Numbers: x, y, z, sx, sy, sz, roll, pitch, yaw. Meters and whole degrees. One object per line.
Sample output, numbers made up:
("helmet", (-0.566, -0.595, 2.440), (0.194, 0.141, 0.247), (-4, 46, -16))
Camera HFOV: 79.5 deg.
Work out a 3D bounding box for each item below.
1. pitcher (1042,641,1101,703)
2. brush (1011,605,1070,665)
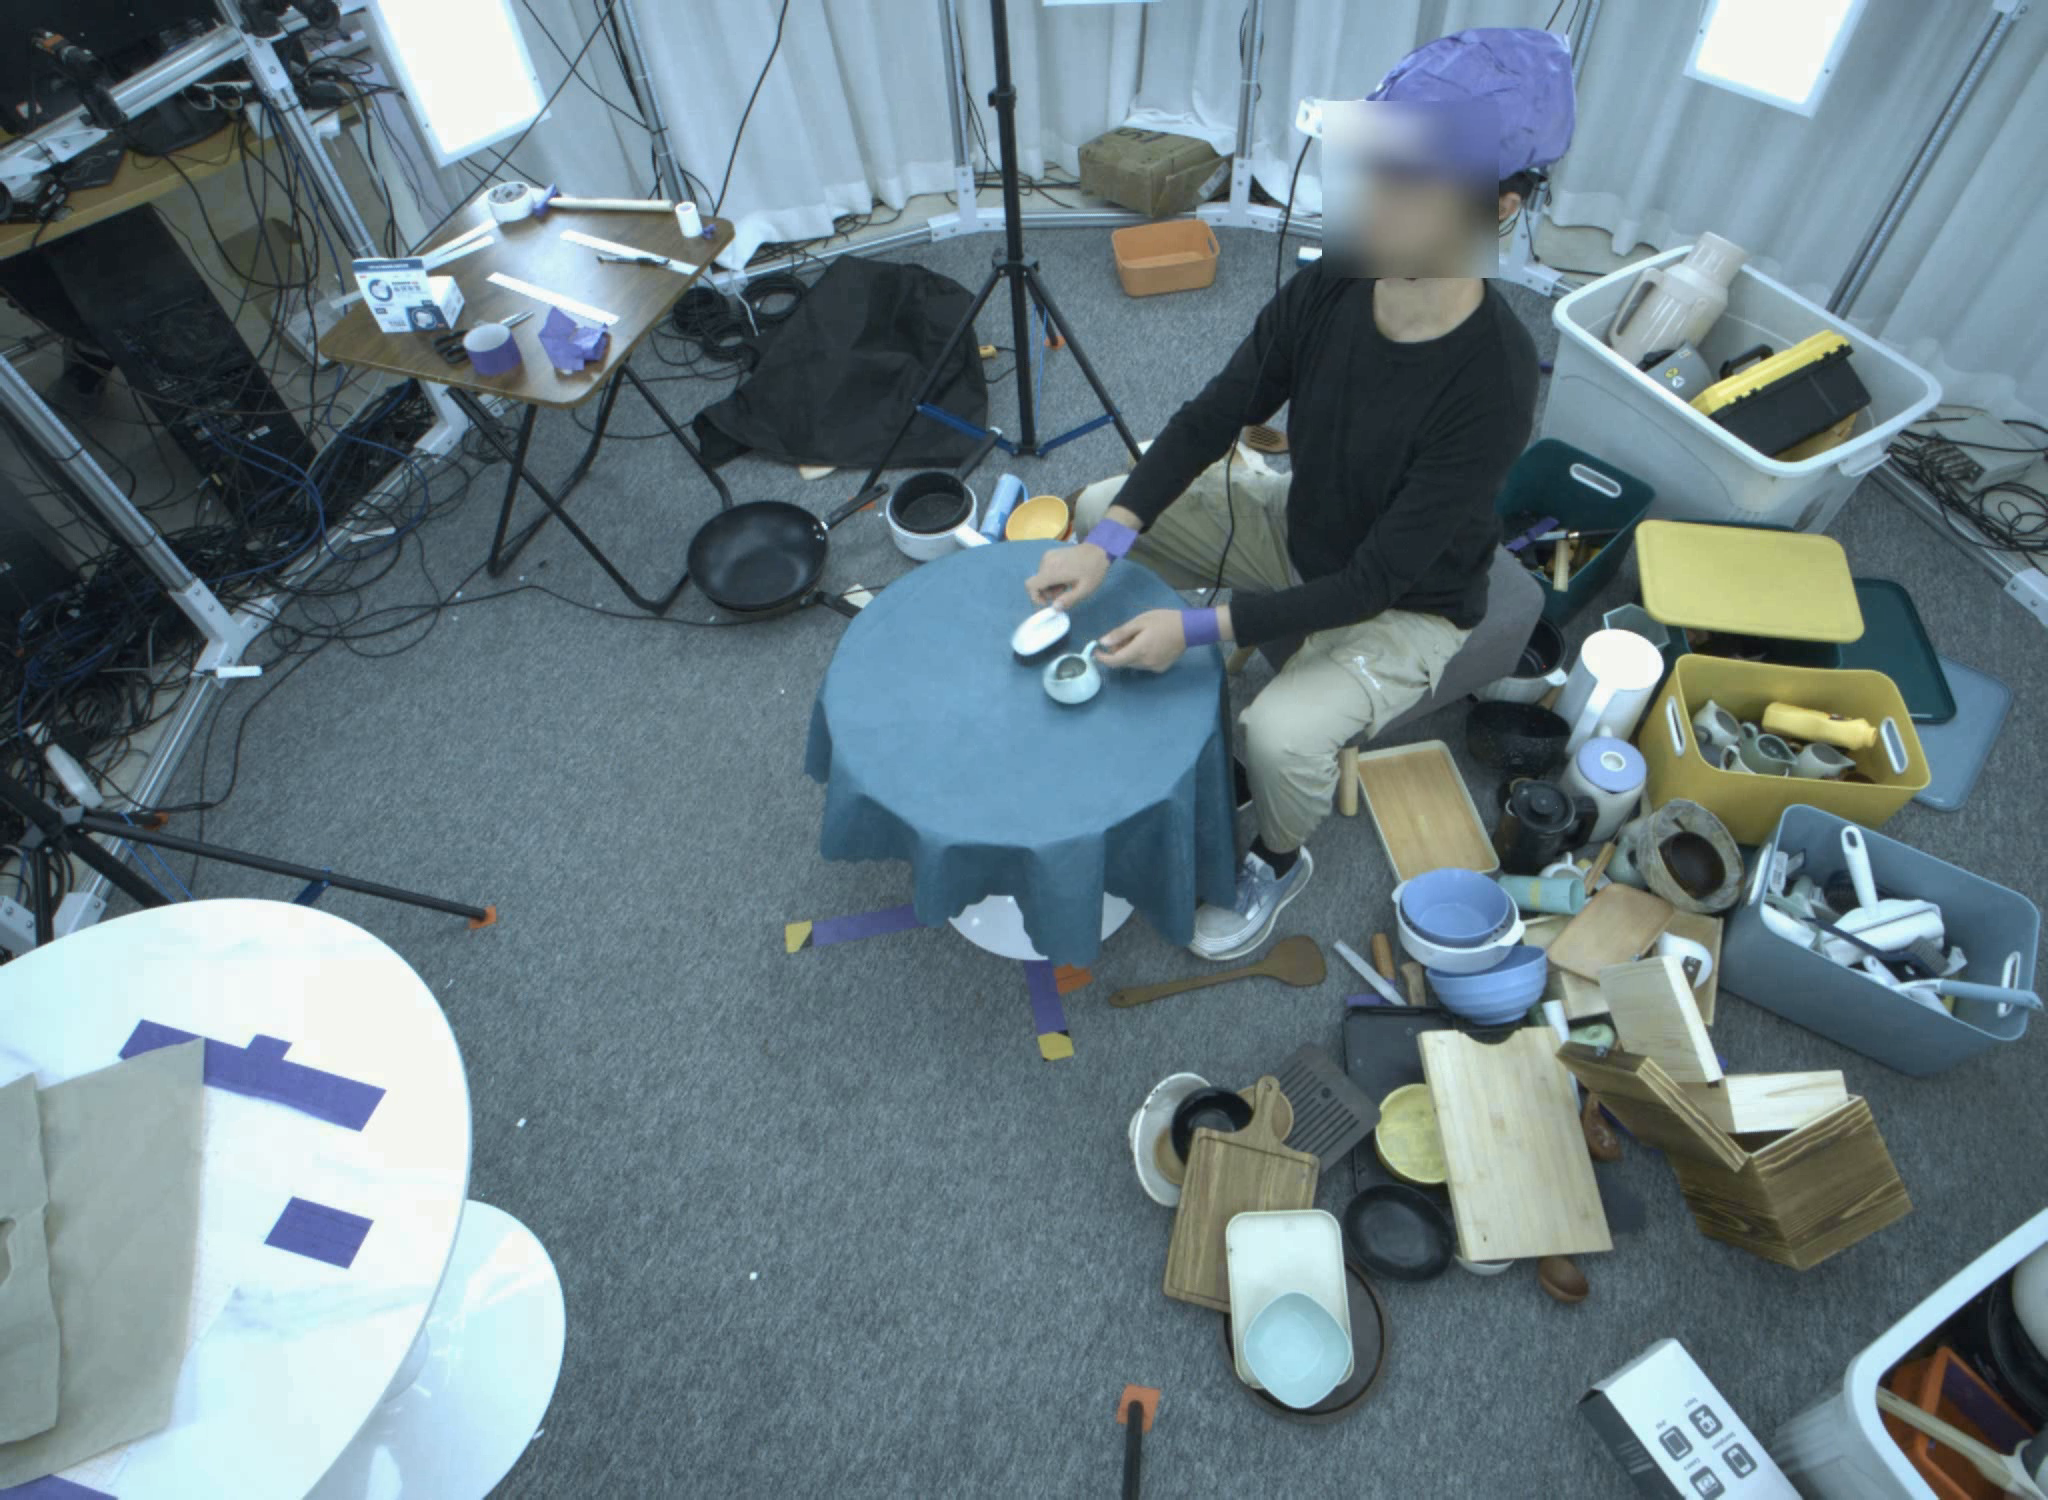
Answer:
("pitcher", (0.077, -0.117, 1.837), (0.084, 0.061, 0.108), (33, 59, 23))
("brush", (0.024, -0.183, 1.872), (0.100, 0.073, 0.049), (-32, 60, -17))
